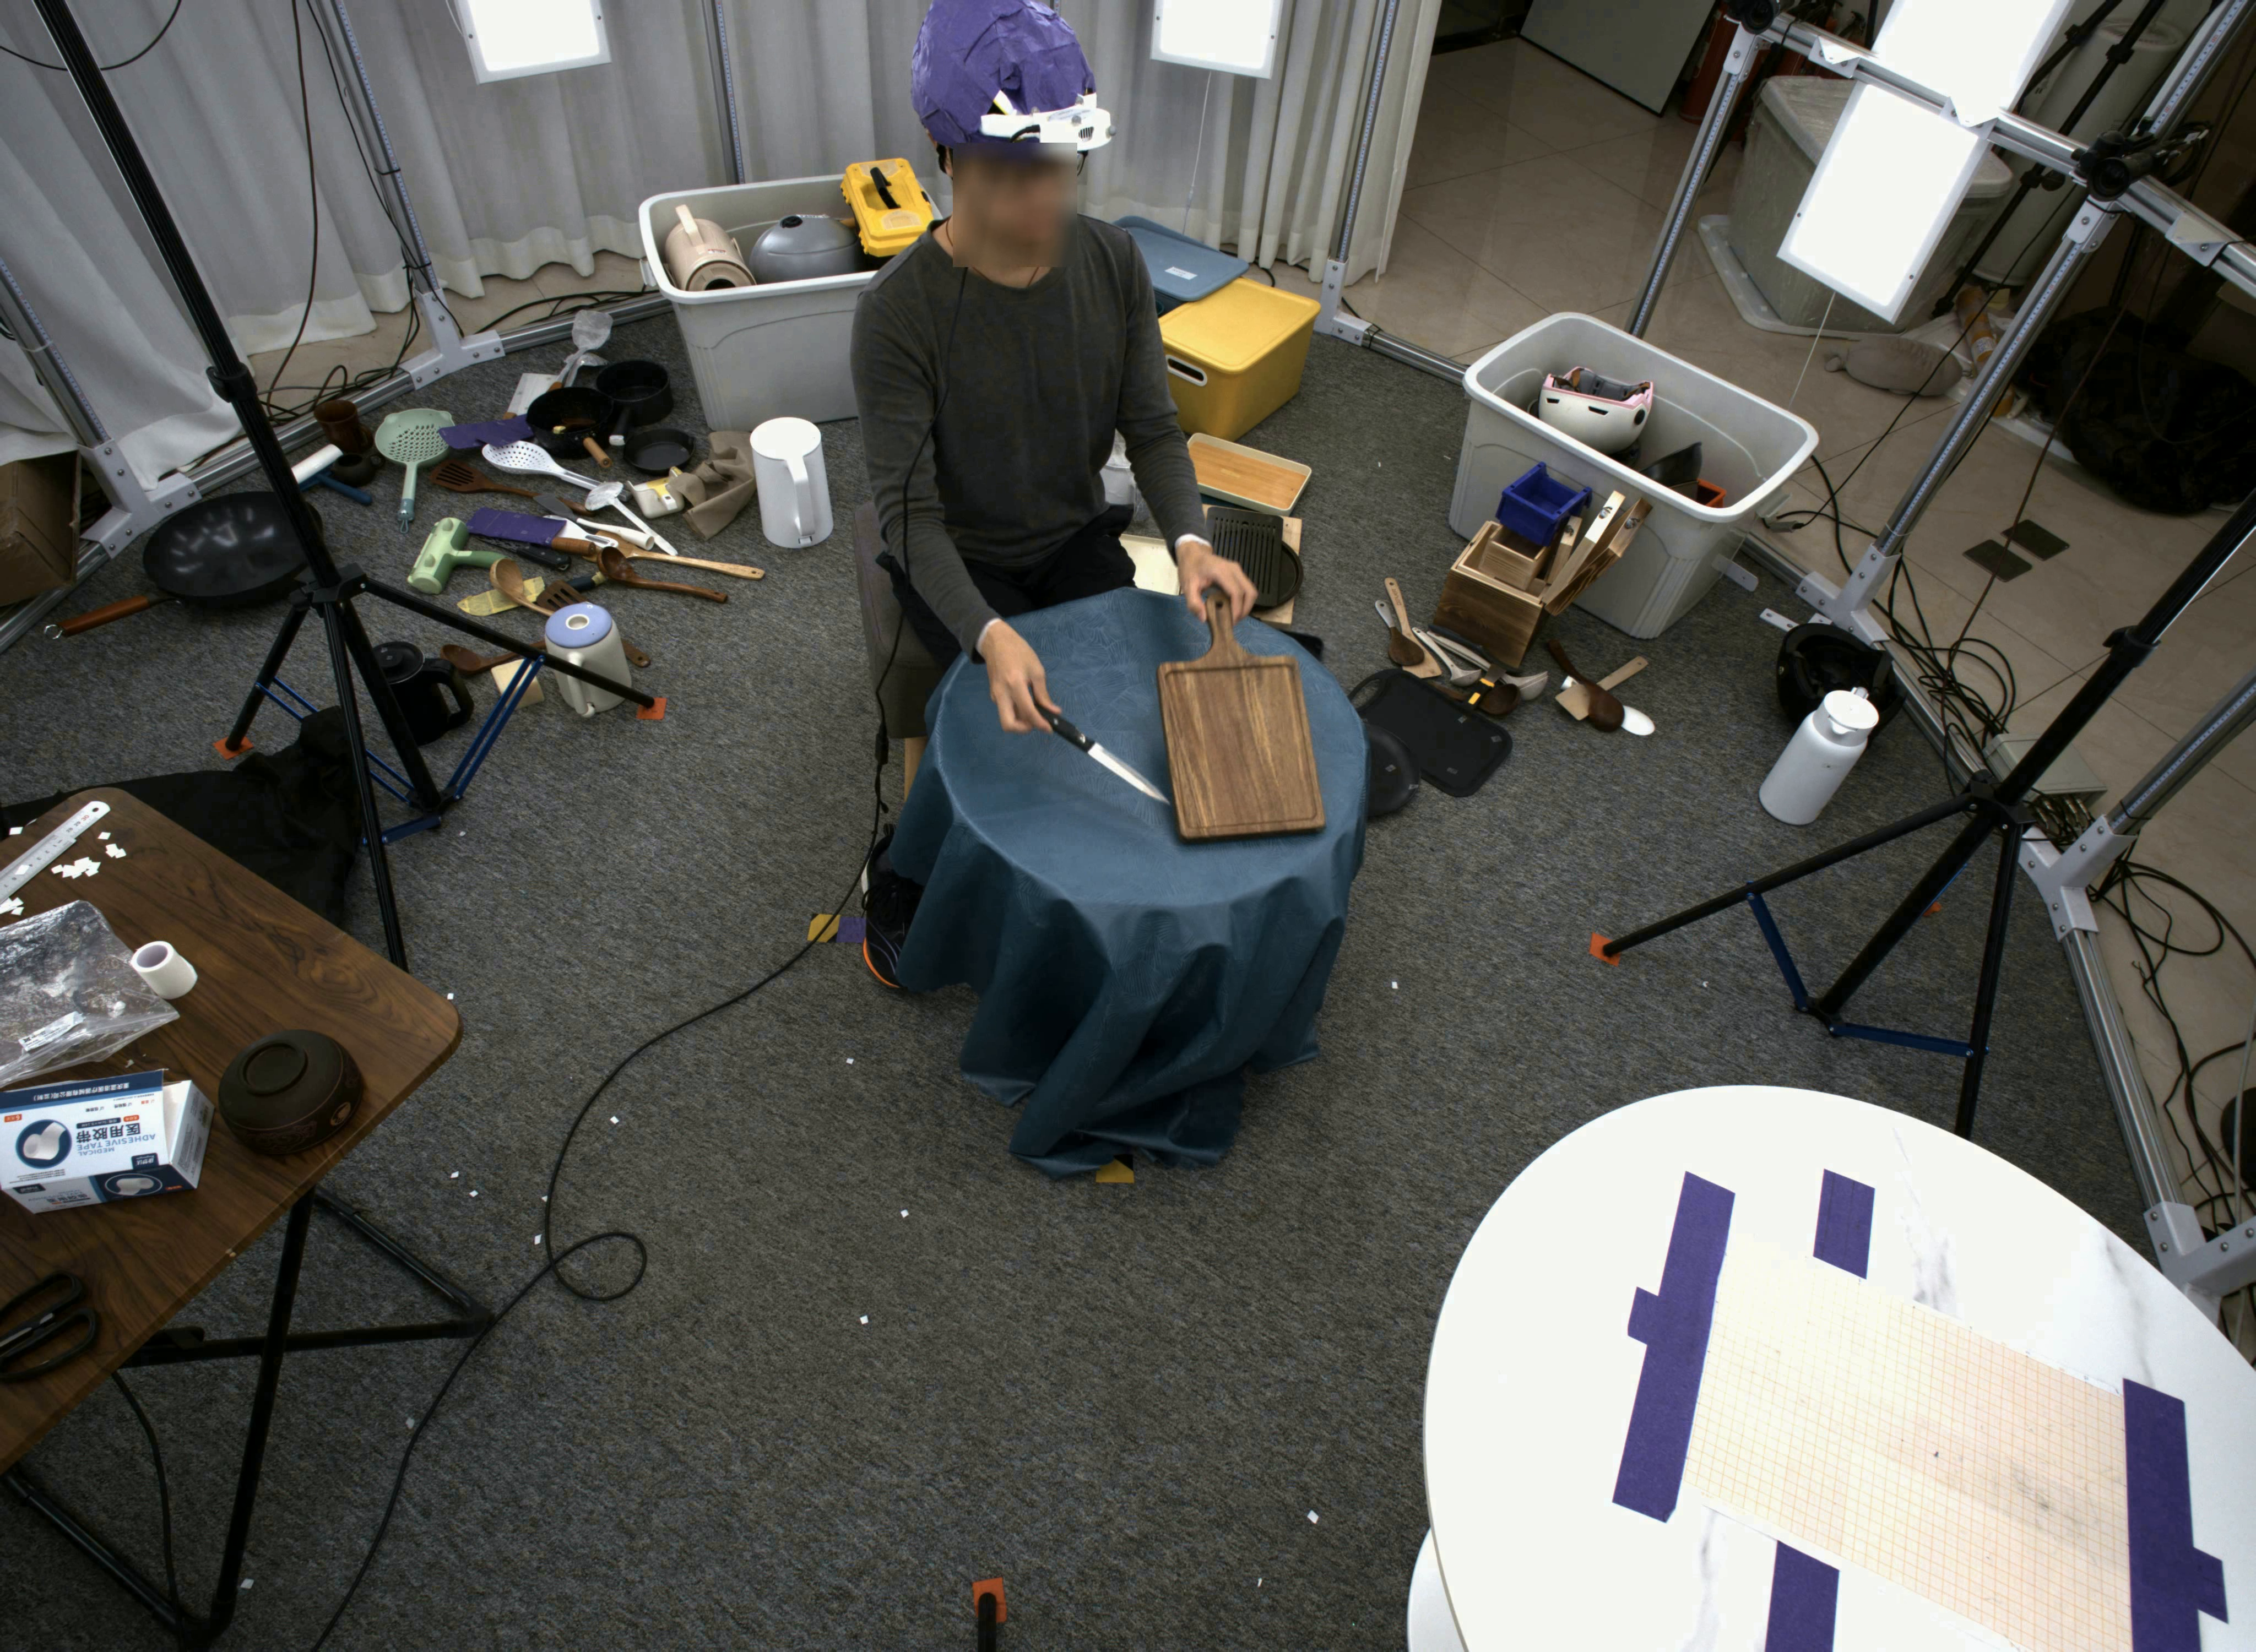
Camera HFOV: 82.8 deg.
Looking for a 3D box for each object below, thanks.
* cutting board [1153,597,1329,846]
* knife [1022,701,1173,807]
[{"bbox_3d":[0.141,-0.149,1.718,0.201,0.023,0.358,-5,68,-8],"label":"cutting board"},{"bbox_3d":[-0.042,-0.090,1.652,0.239,0.016,0.025,35,59,9],"label":"knife"}]
